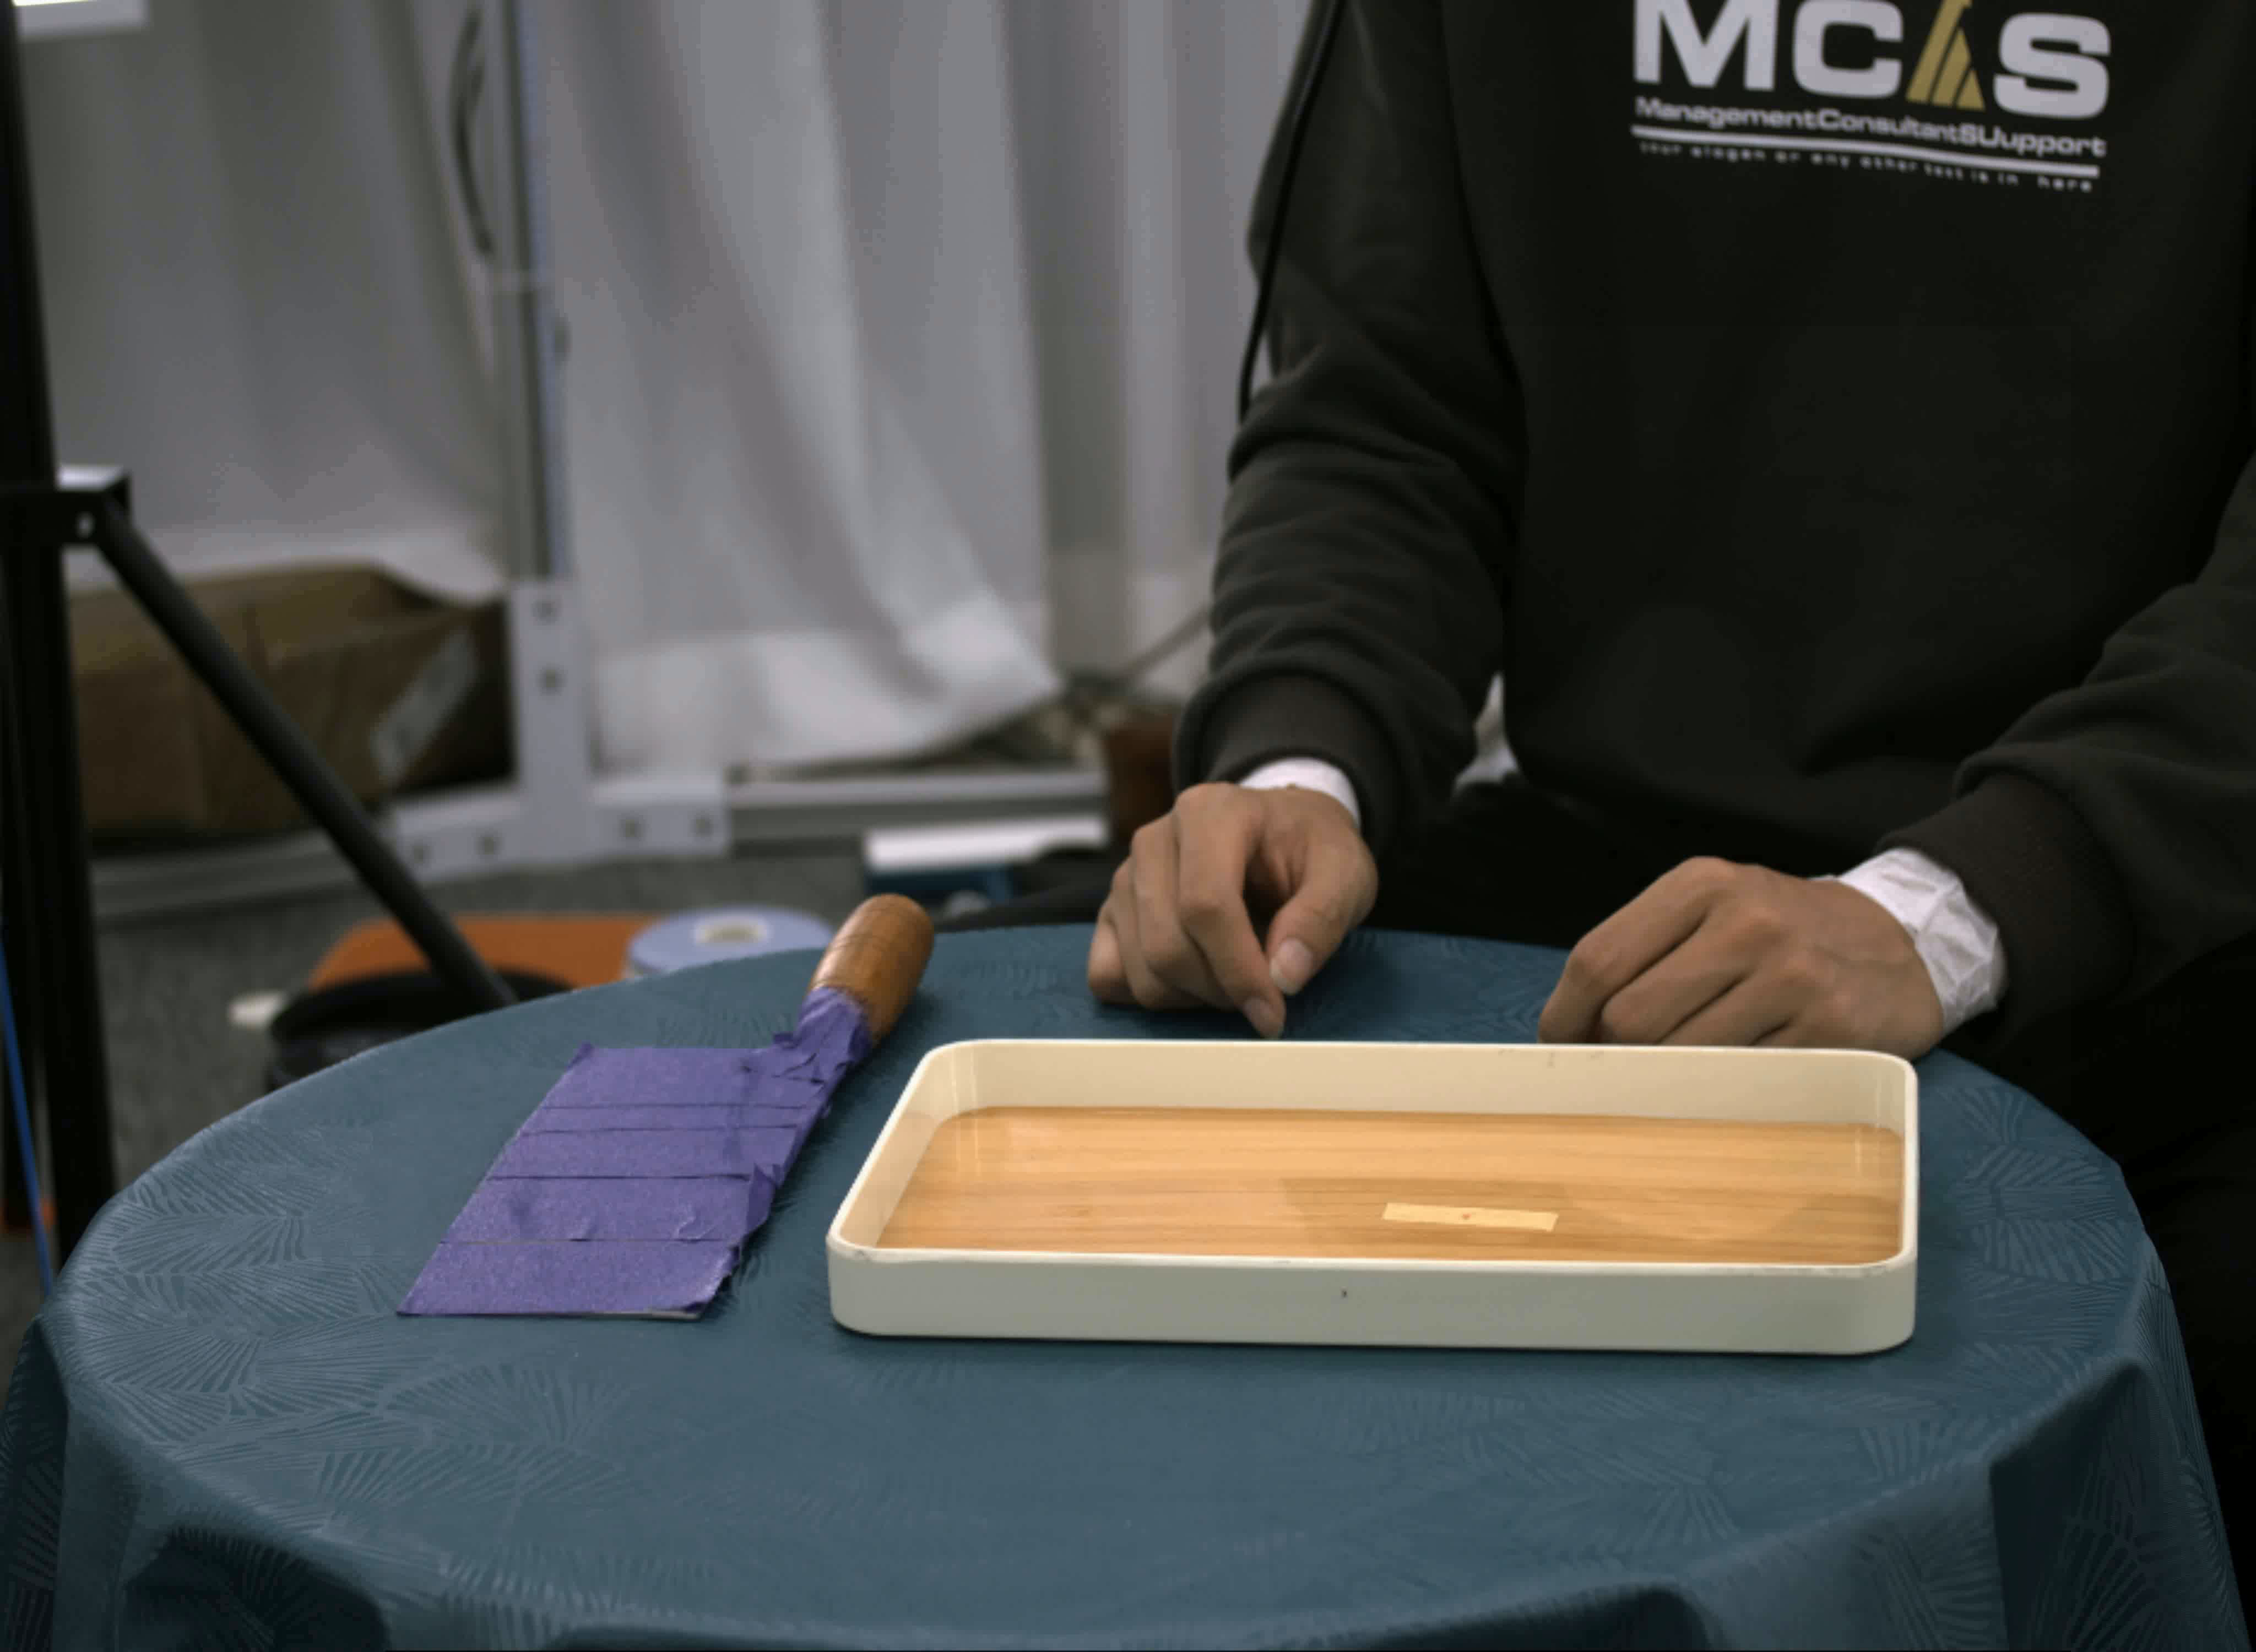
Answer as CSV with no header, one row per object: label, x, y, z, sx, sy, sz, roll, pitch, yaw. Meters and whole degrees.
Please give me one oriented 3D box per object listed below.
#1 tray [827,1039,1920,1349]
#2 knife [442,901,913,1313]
tray,0.075,0.104,1.516,0.301,0.027,0.191,0,16,10
knife,-0.135,0.082,1.623,0.104,0.032,0.314,1,16,8
